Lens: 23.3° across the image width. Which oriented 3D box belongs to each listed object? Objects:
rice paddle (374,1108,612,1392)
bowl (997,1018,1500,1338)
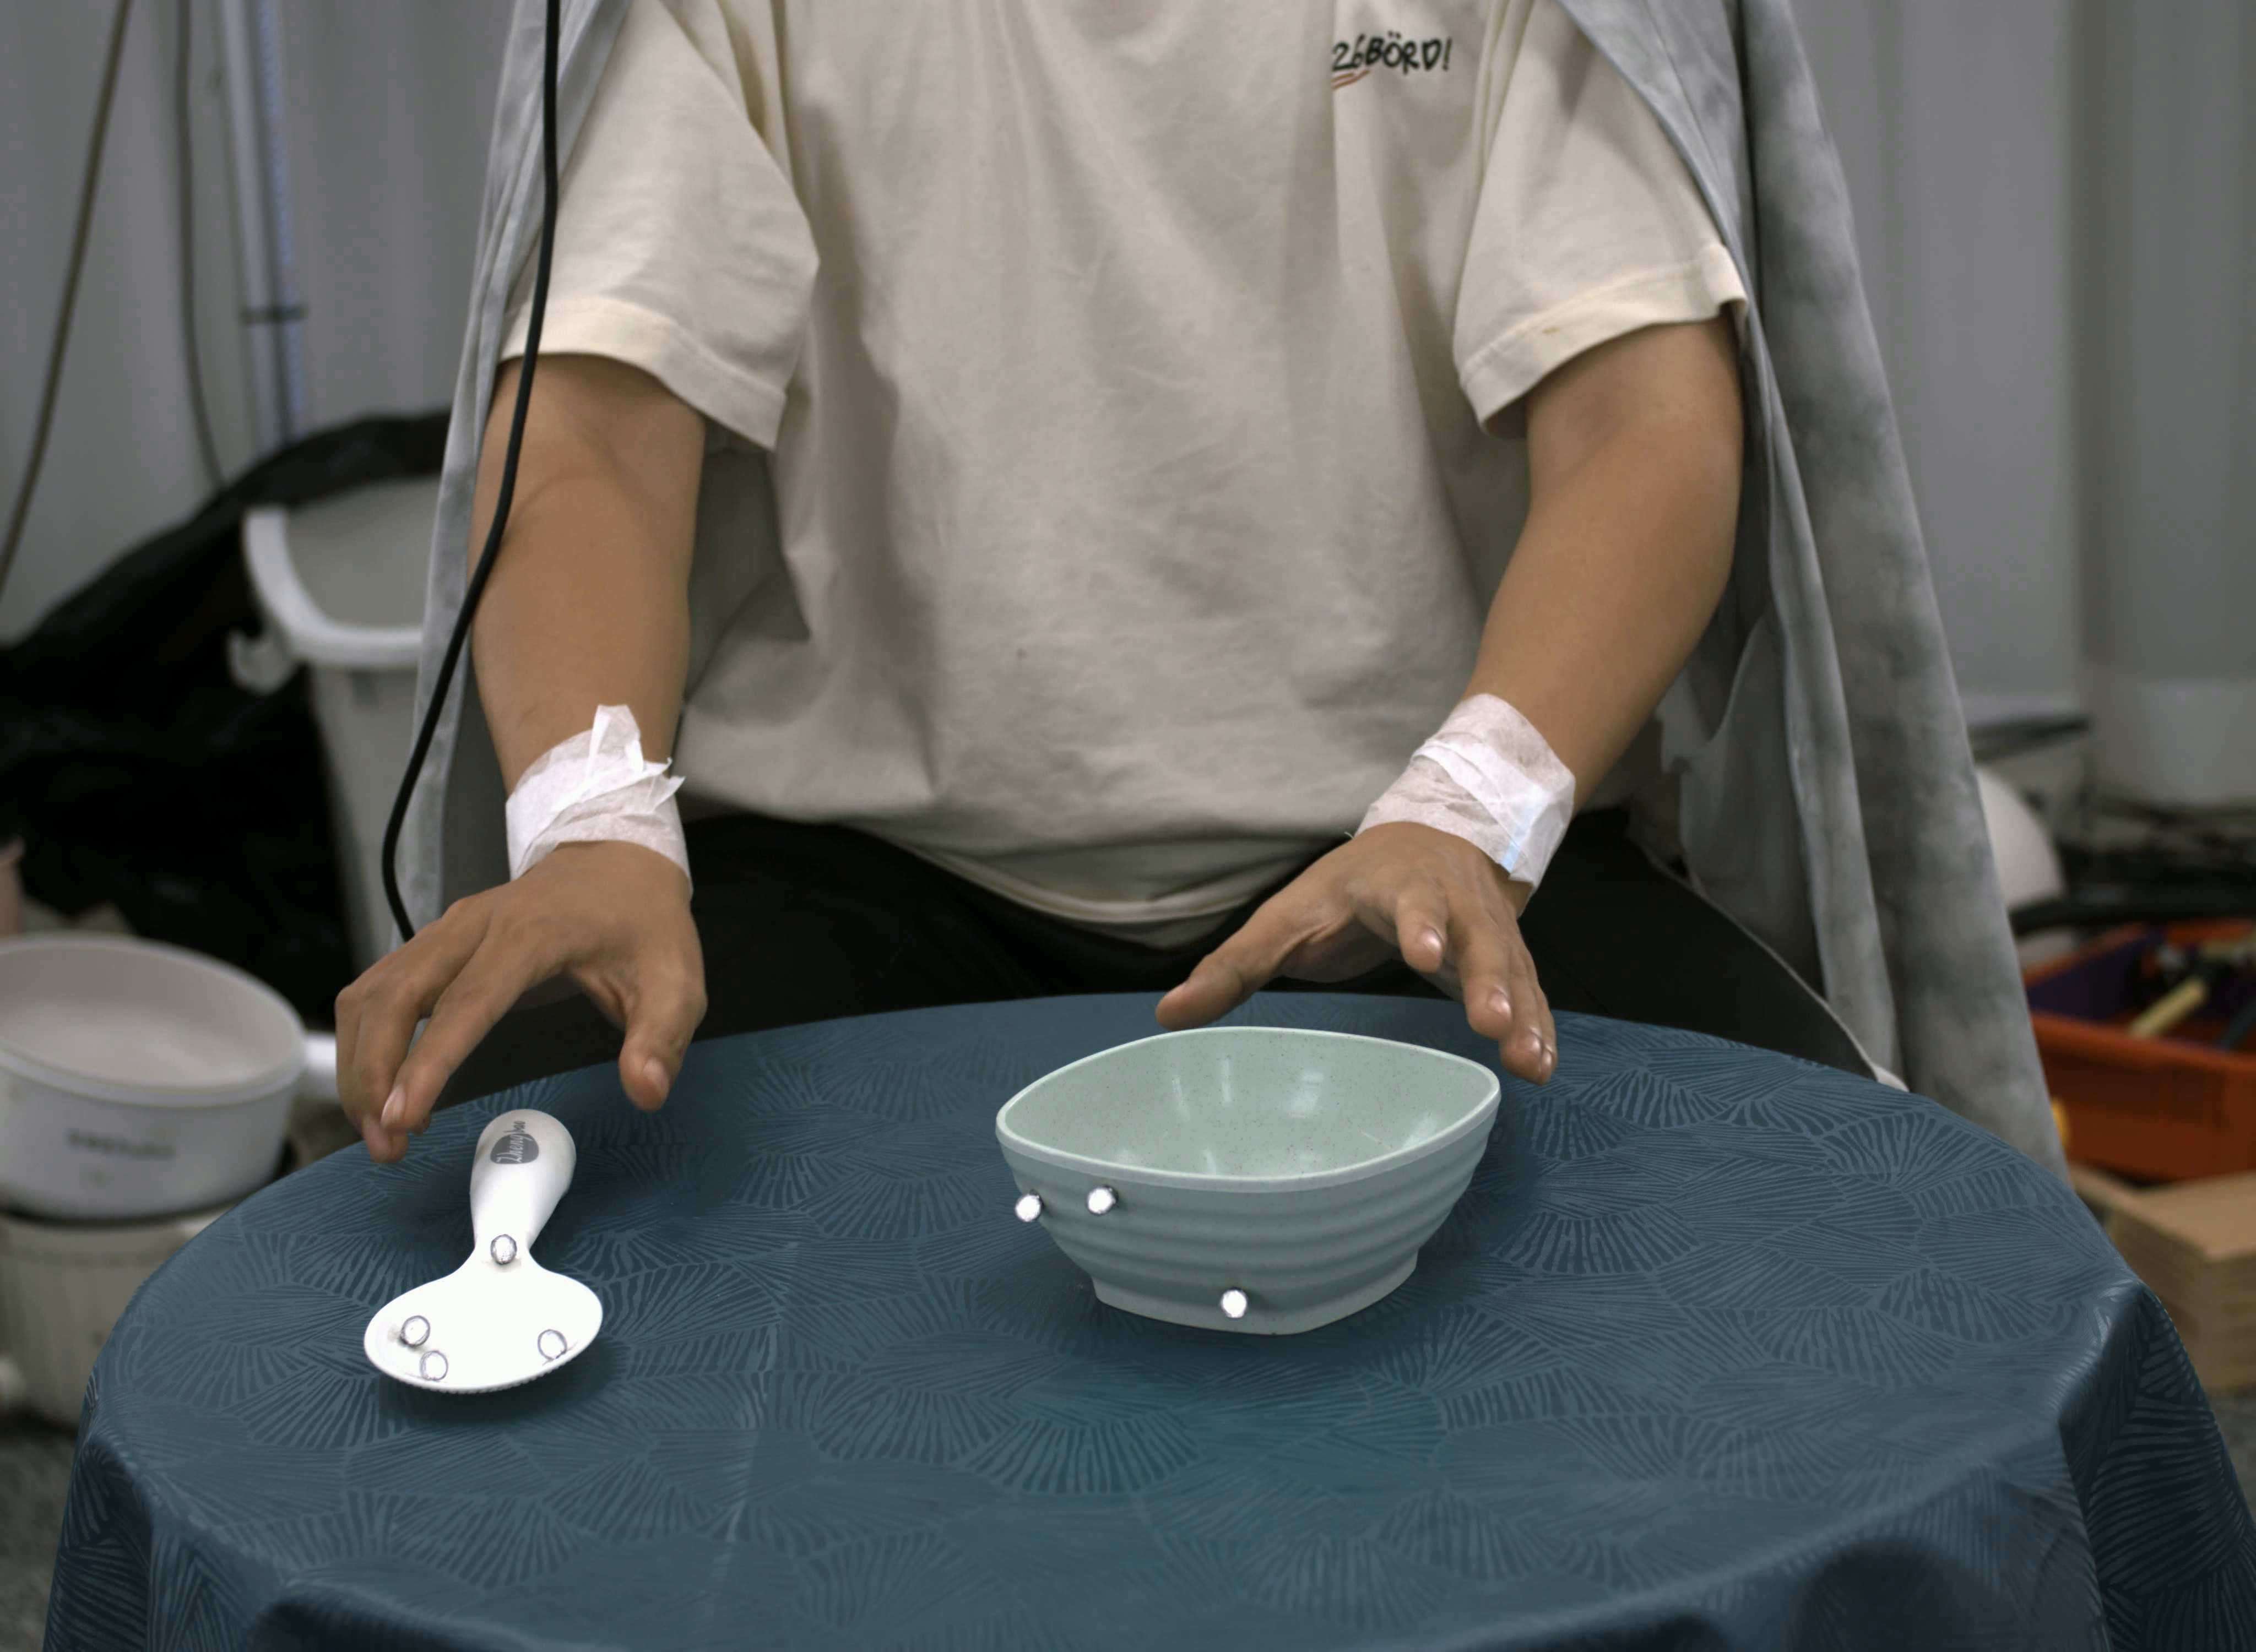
[{"bbox_3d":[-0.186,0.129,1.641,0.068,0.029,0.206,-4,15,-1],"label":"rice paddle"},{"bbox_3d":[0.038,0.108,1.625,0.151,0.058,0.152,-5,17,1],"label":"bowl"}]
